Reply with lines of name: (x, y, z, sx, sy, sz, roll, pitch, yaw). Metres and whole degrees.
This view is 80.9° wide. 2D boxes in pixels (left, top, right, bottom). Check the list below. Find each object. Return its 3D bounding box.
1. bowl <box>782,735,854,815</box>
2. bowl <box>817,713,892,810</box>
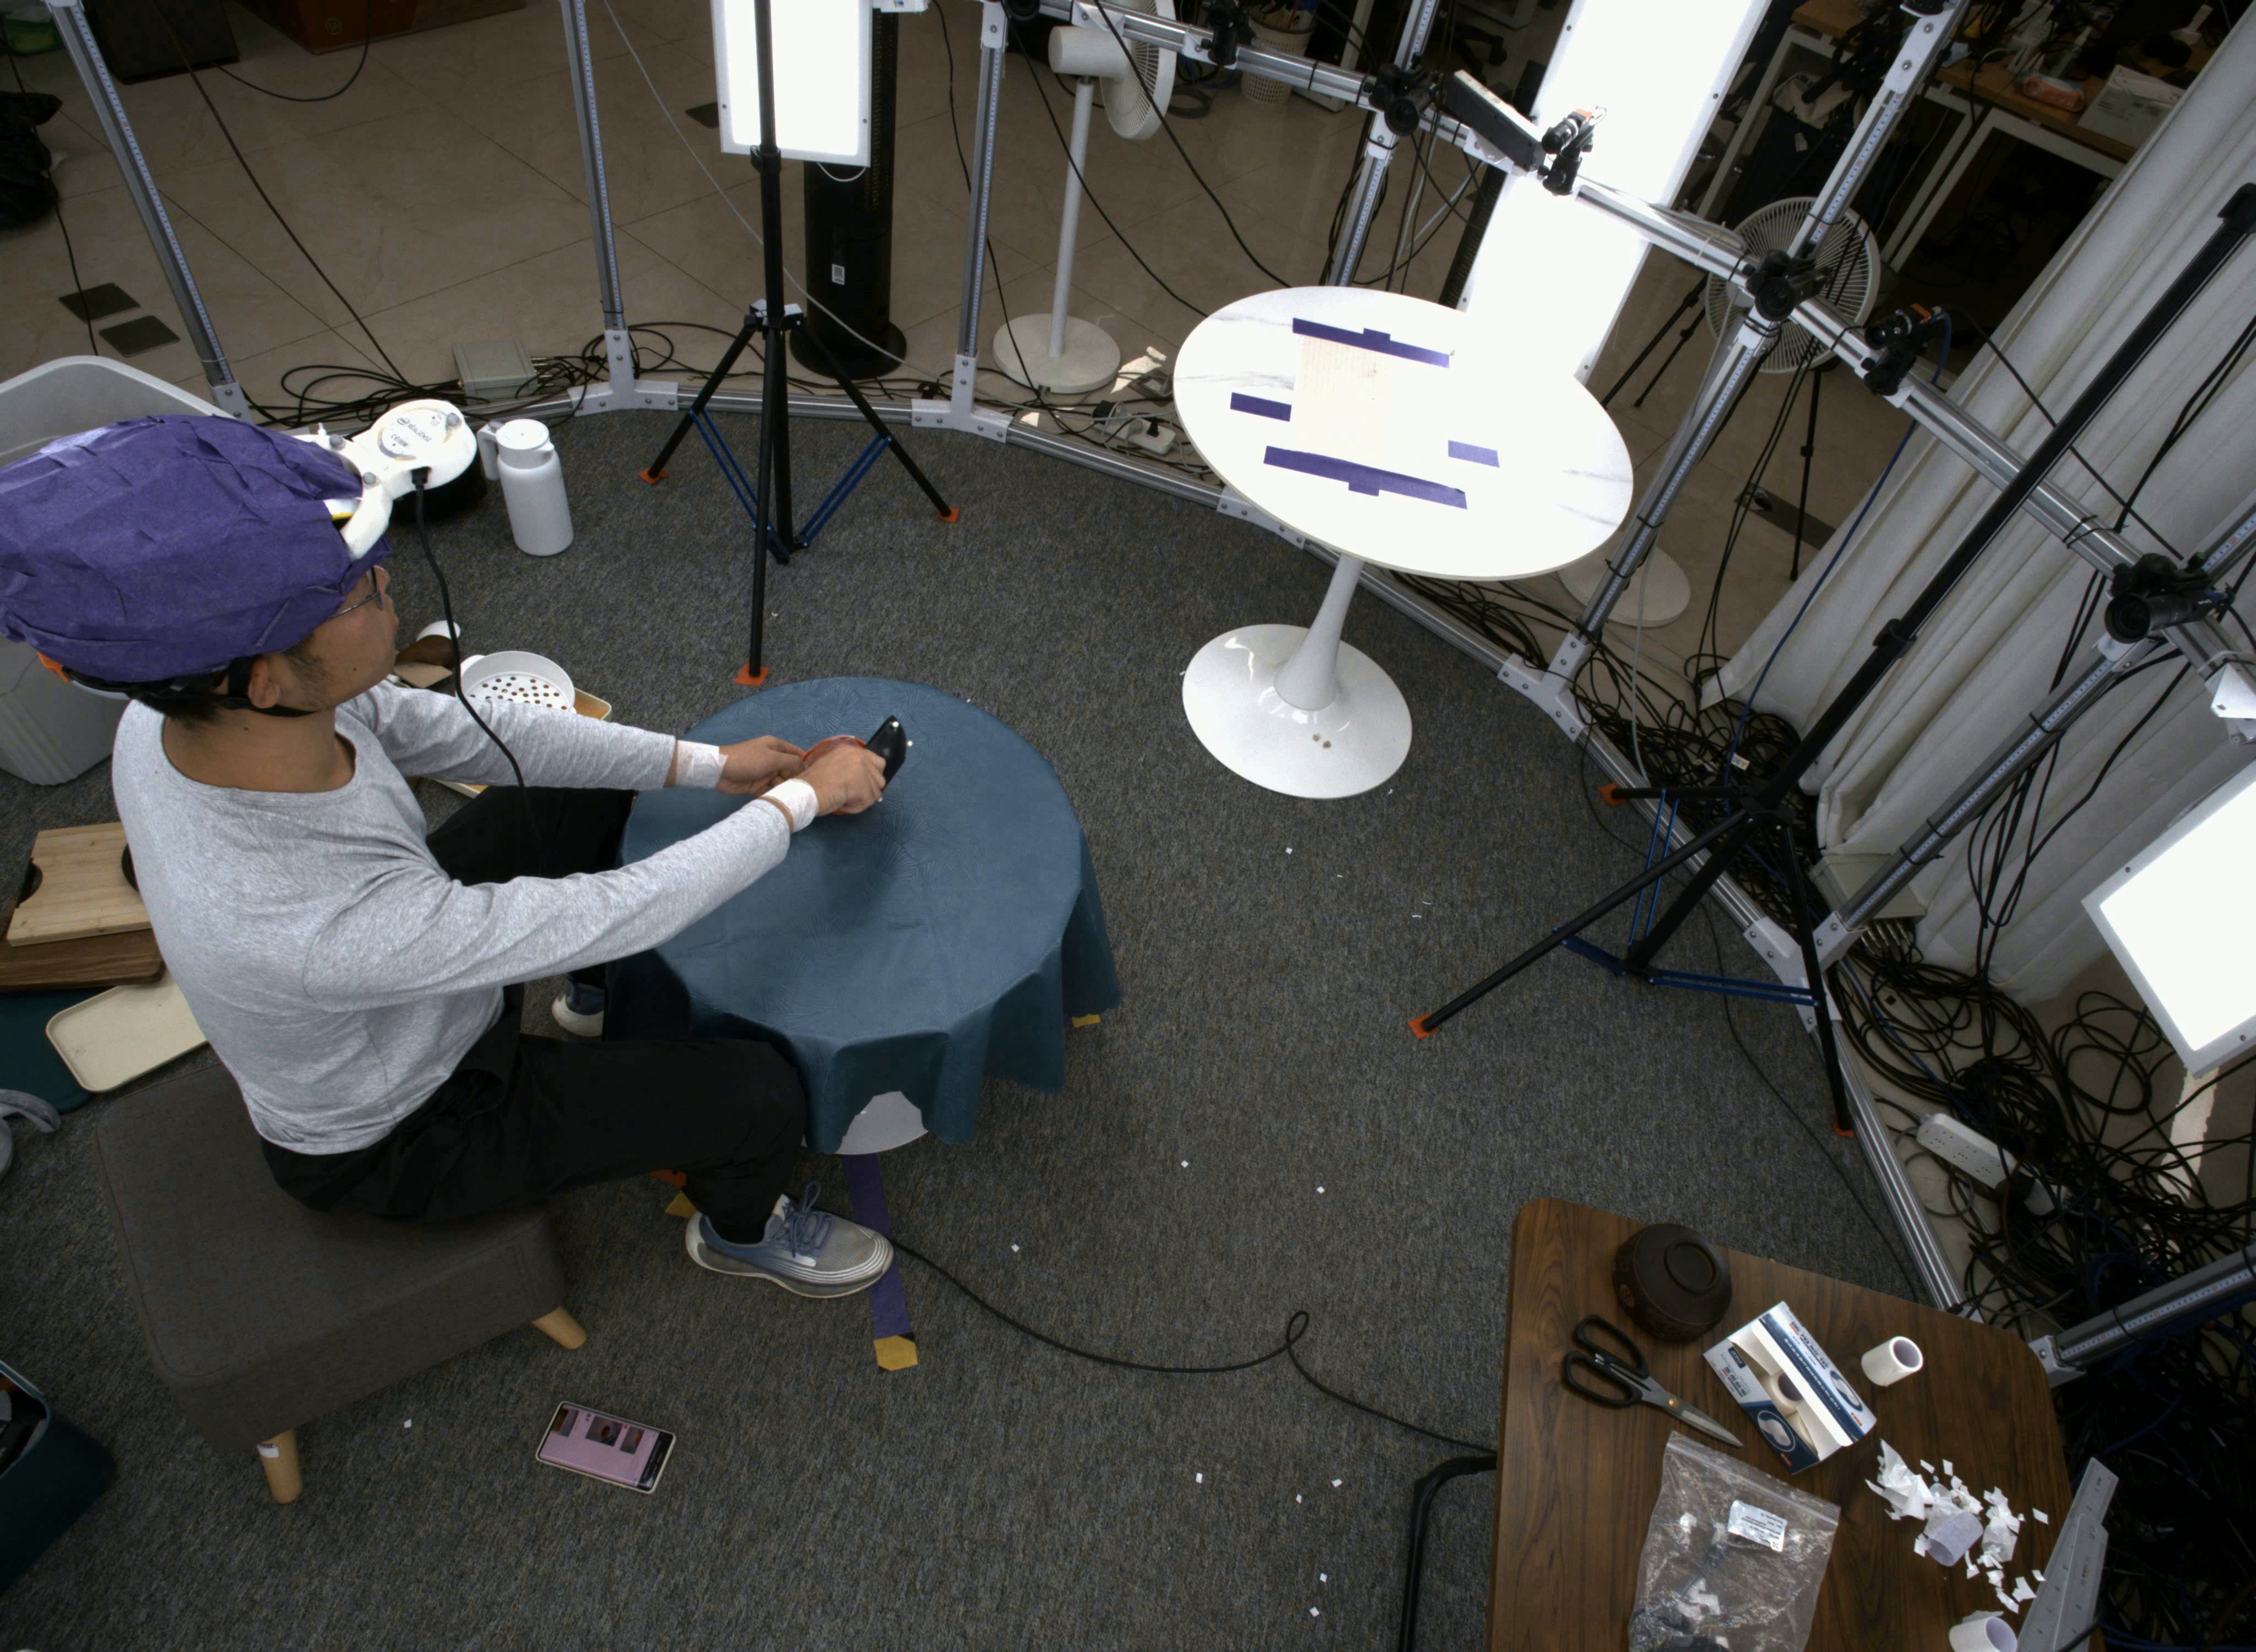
bowl: (-0.406, -0.061, 1.745, 0.119, 0.052, 0.117, 12, 53, -14)
bowl: (-0.346, -0.075, 1.684, 0.050, 0.139, 0.138, 33, 49, -15)
